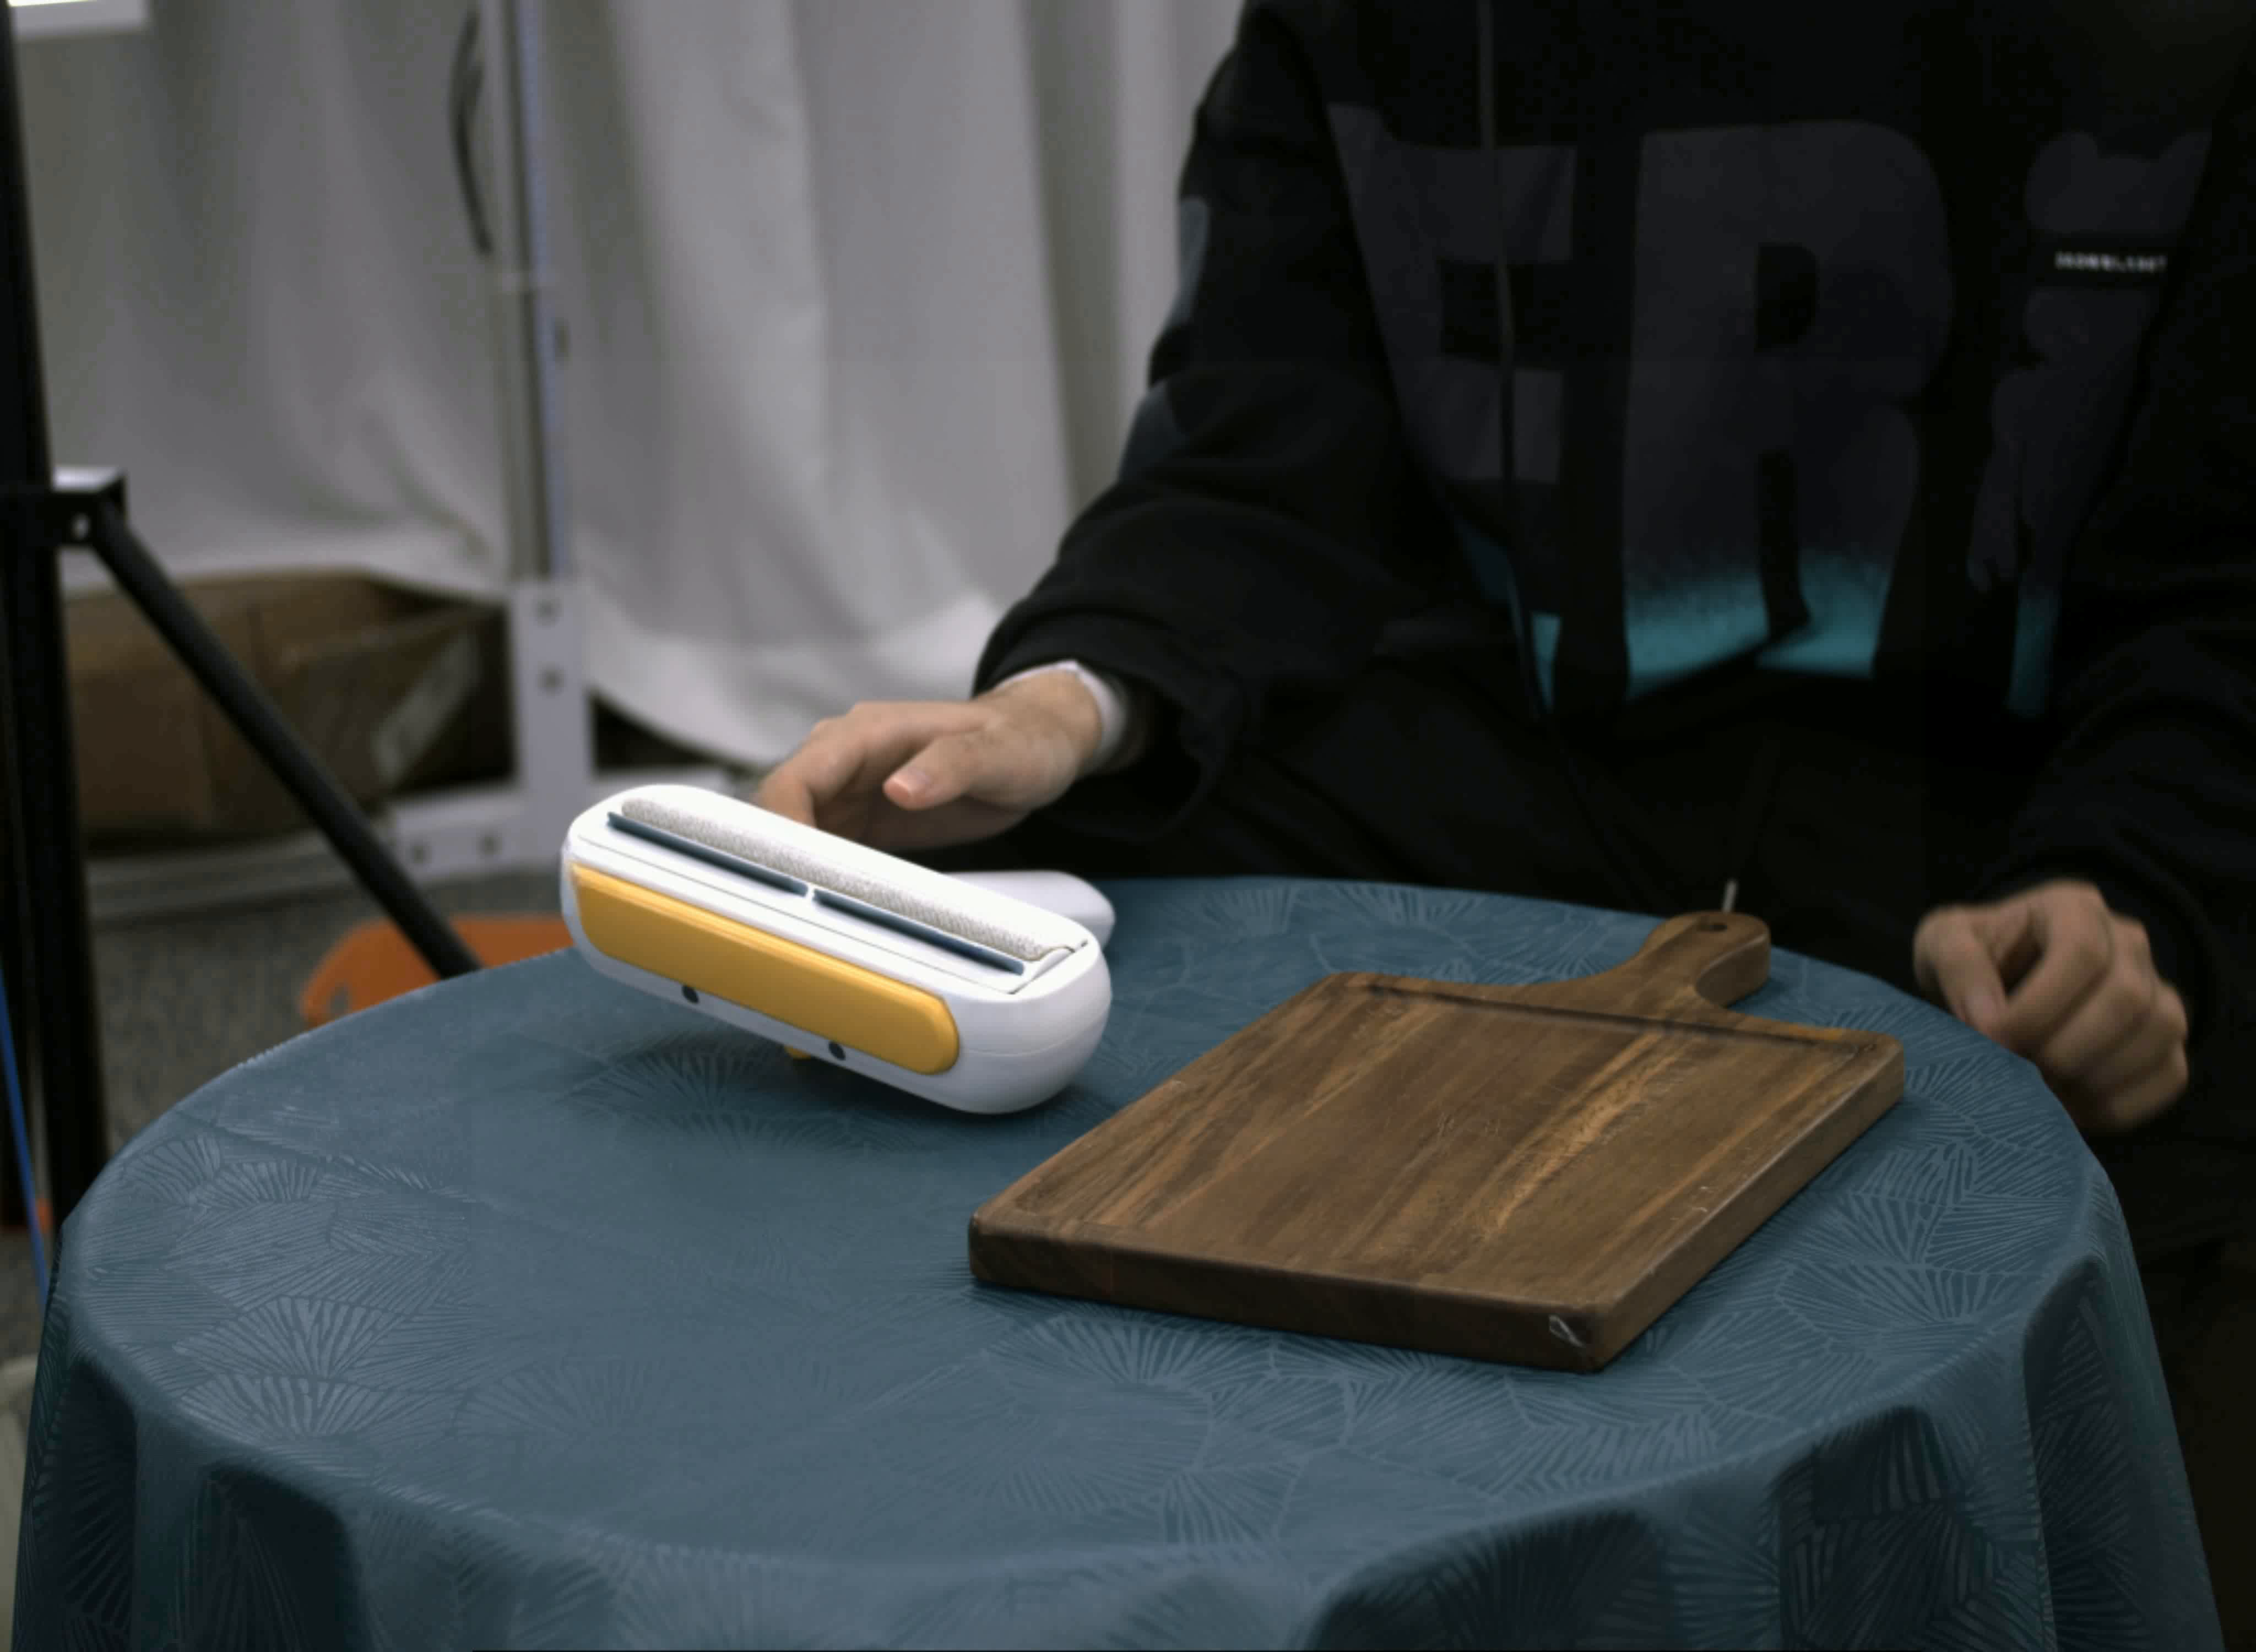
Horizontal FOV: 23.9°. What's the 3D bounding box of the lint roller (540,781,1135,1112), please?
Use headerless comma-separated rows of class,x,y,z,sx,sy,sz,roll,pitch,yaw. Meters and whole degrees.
lint roller,-0.066,0.030,1.720,0.197,0.074,0.188,16,22,35

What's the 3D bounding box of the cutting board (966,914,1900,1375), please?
cutting board,0.116,0.084,1.585,0.204,0.023,0.346,5,18,27
